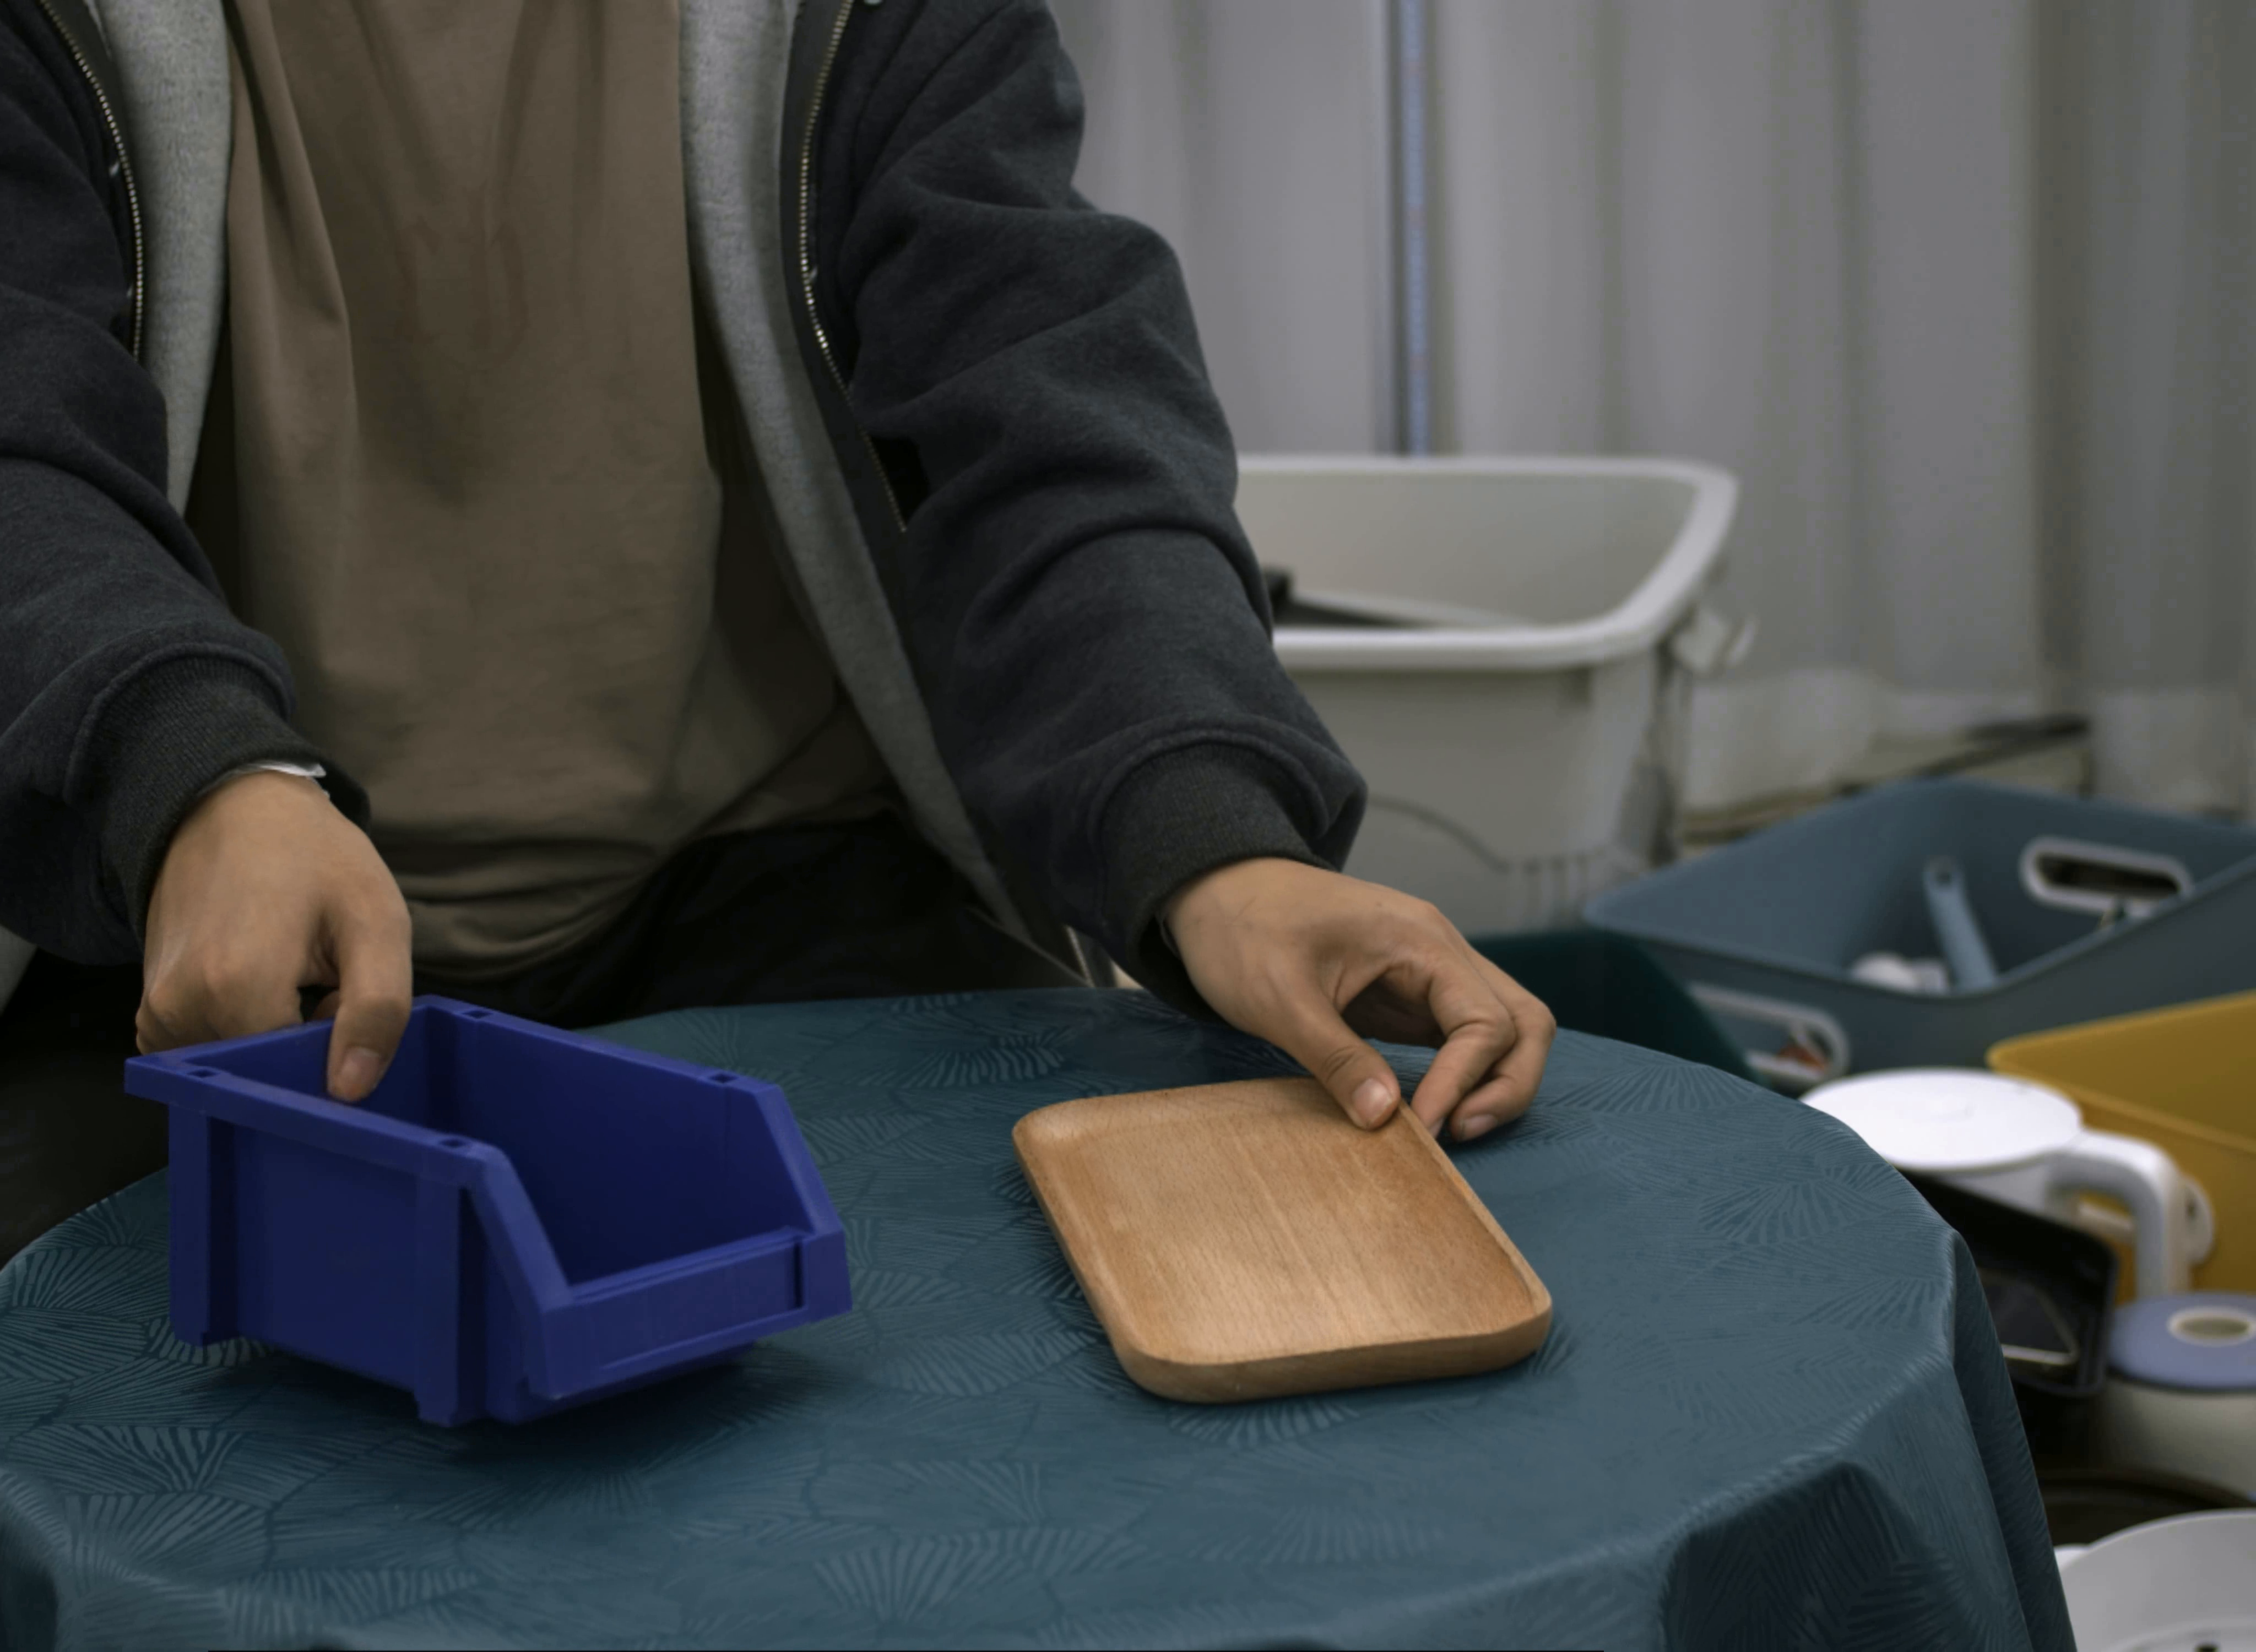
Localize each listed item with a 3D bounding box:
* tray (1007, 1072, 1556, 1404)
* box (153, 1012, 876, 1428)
[{"bbox_3d":[0.042,0.121,1.649,0.130,0.023,0.252,-3,14,-9],"label":"tray"},{"bbox_3d":[-0.175,0.113,1.573,0.180,0.082,0.124,8,12,43],"label":"box"}]
